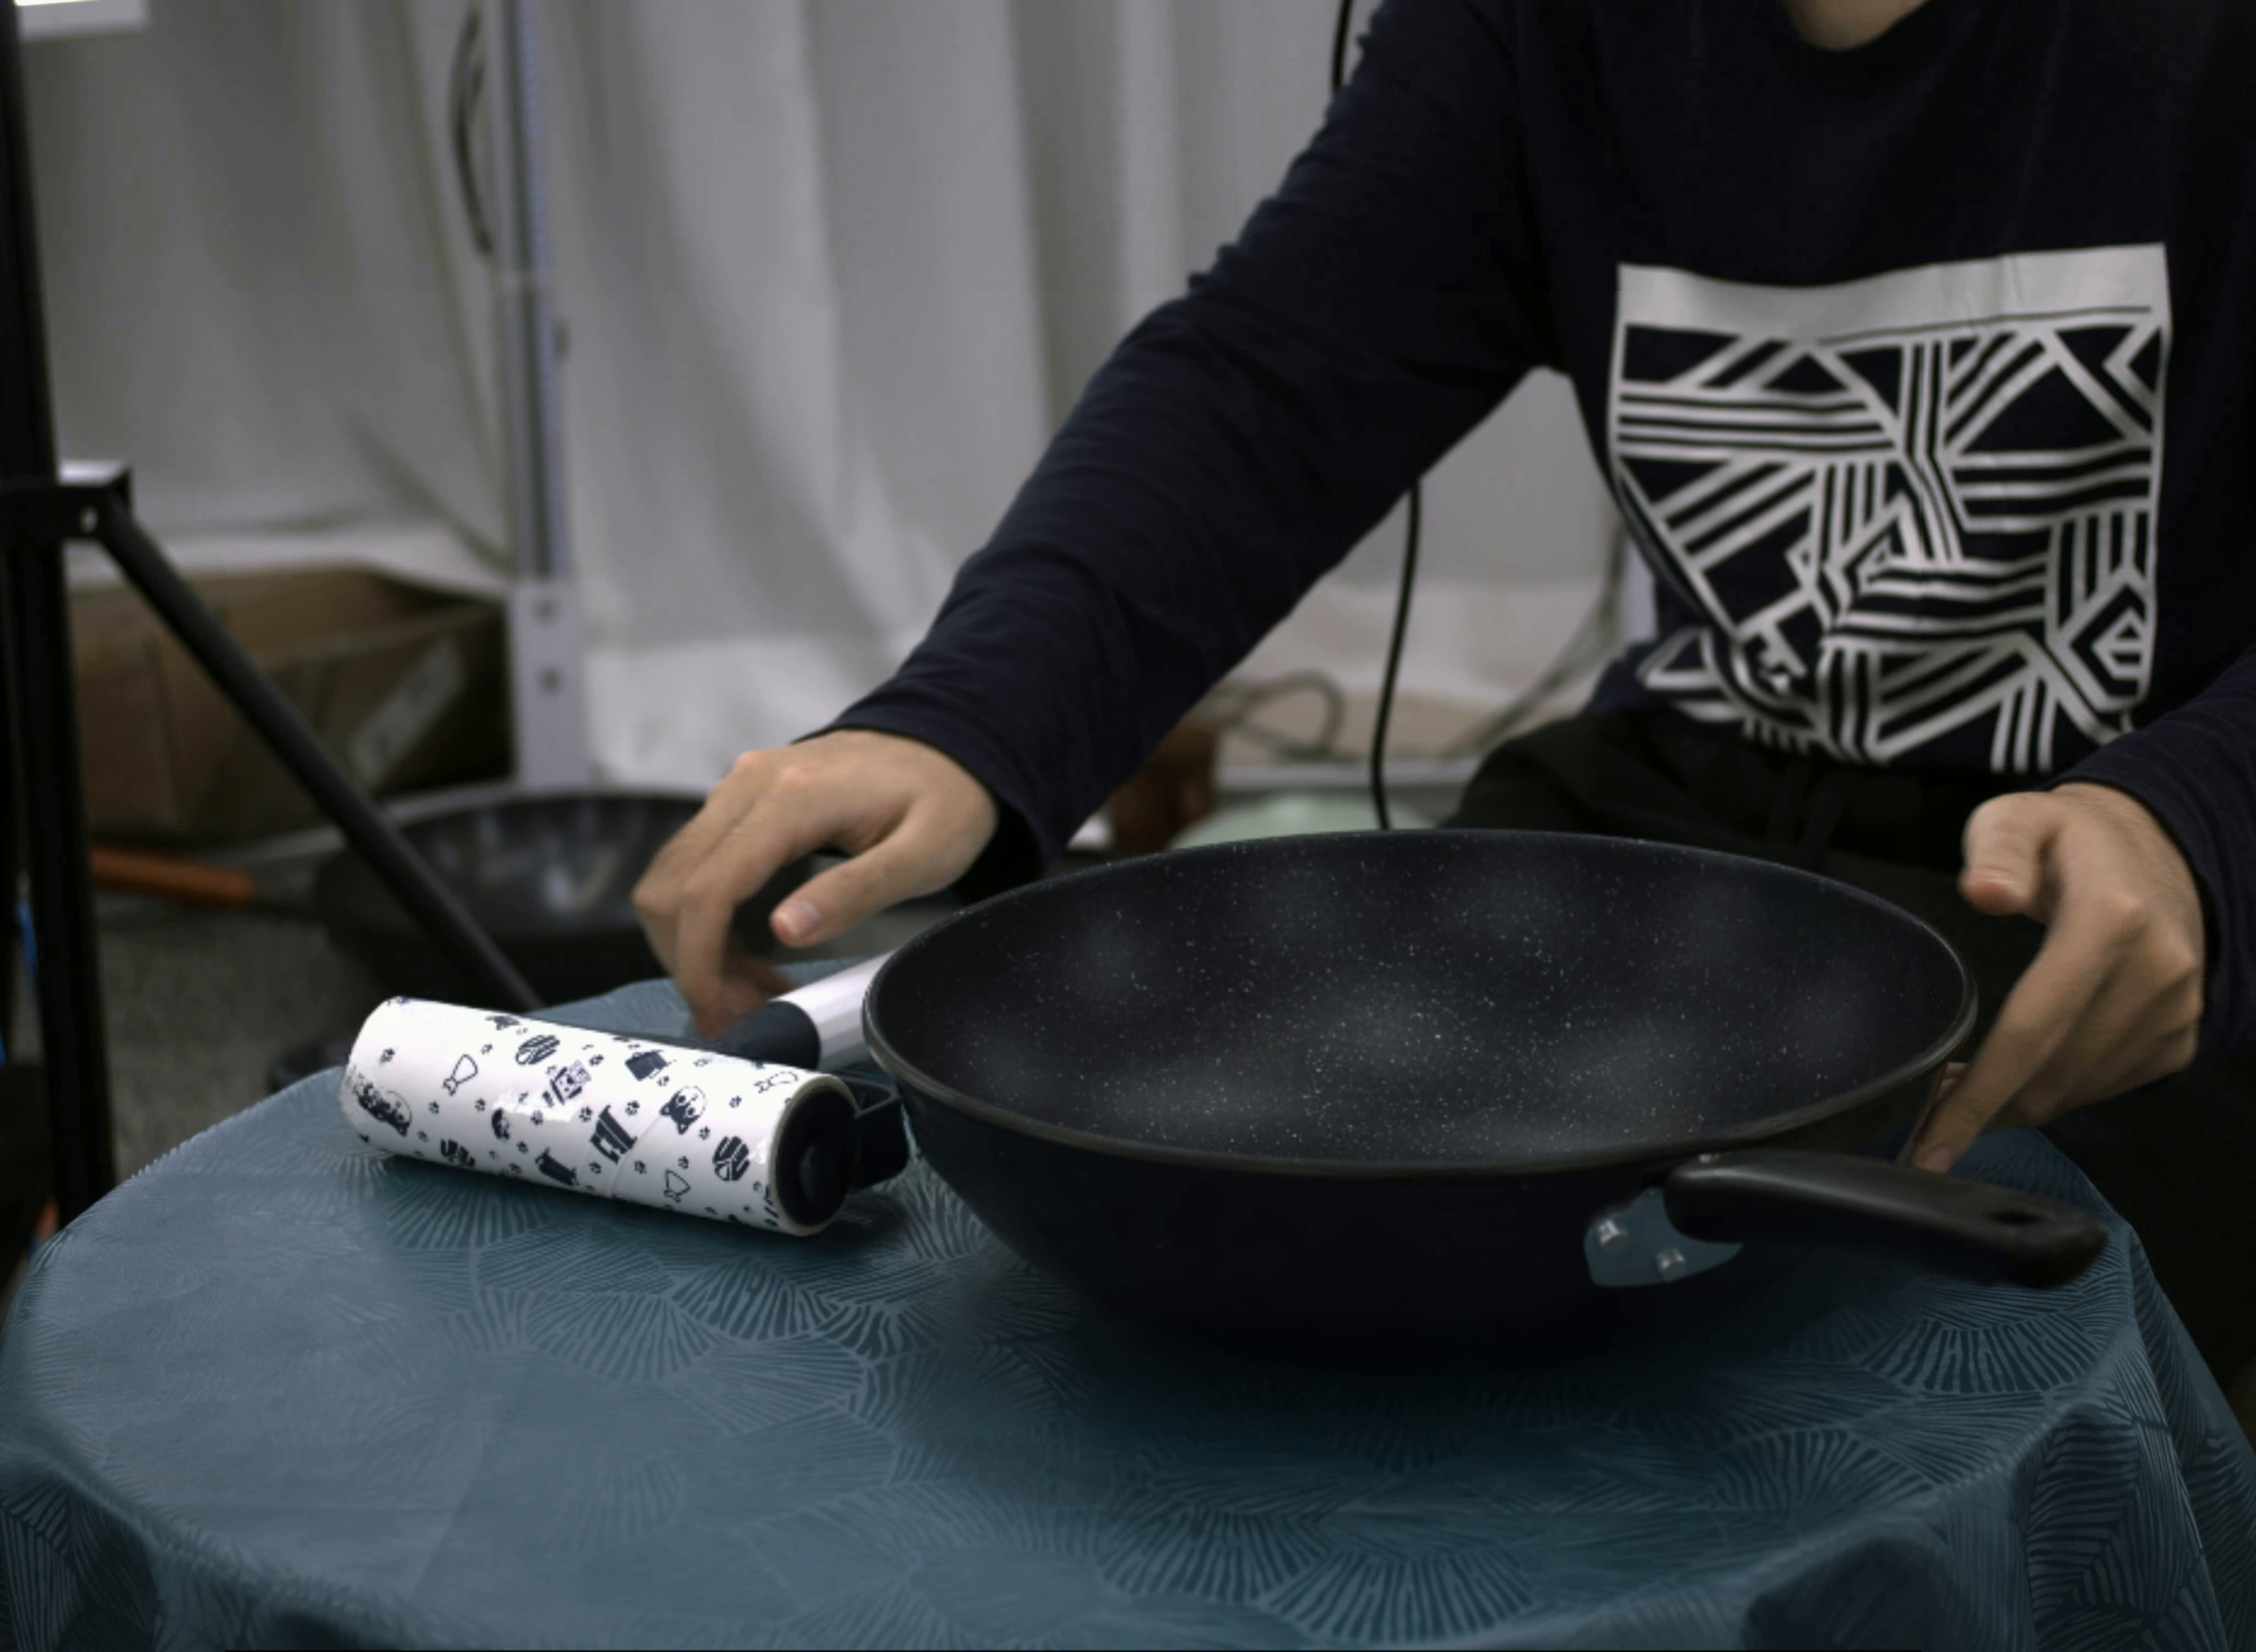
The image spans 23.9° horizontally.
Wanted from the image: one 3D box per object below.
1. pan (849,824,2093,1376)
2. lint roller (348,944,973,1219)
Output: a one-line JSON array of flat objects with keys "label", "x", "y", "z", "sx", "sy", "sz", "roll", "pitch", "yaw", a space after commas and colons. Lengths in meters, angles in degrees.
[{"label": "pan", "x": 0.113, "y": 0.091, "z": 1.406, "sx": 0.304, "sy": 0.111, "sz": 0.486, "roll": -10, "pitch": 17, "yaw": -22}, {"label": "lint roller", "x": -0.102, "y": 0.063, "z": 1.661, "sx": 0.179, "sy": 0.050, "sz": 0.242, "roll": 7, "pitch": 16, "yaw": 33}]
